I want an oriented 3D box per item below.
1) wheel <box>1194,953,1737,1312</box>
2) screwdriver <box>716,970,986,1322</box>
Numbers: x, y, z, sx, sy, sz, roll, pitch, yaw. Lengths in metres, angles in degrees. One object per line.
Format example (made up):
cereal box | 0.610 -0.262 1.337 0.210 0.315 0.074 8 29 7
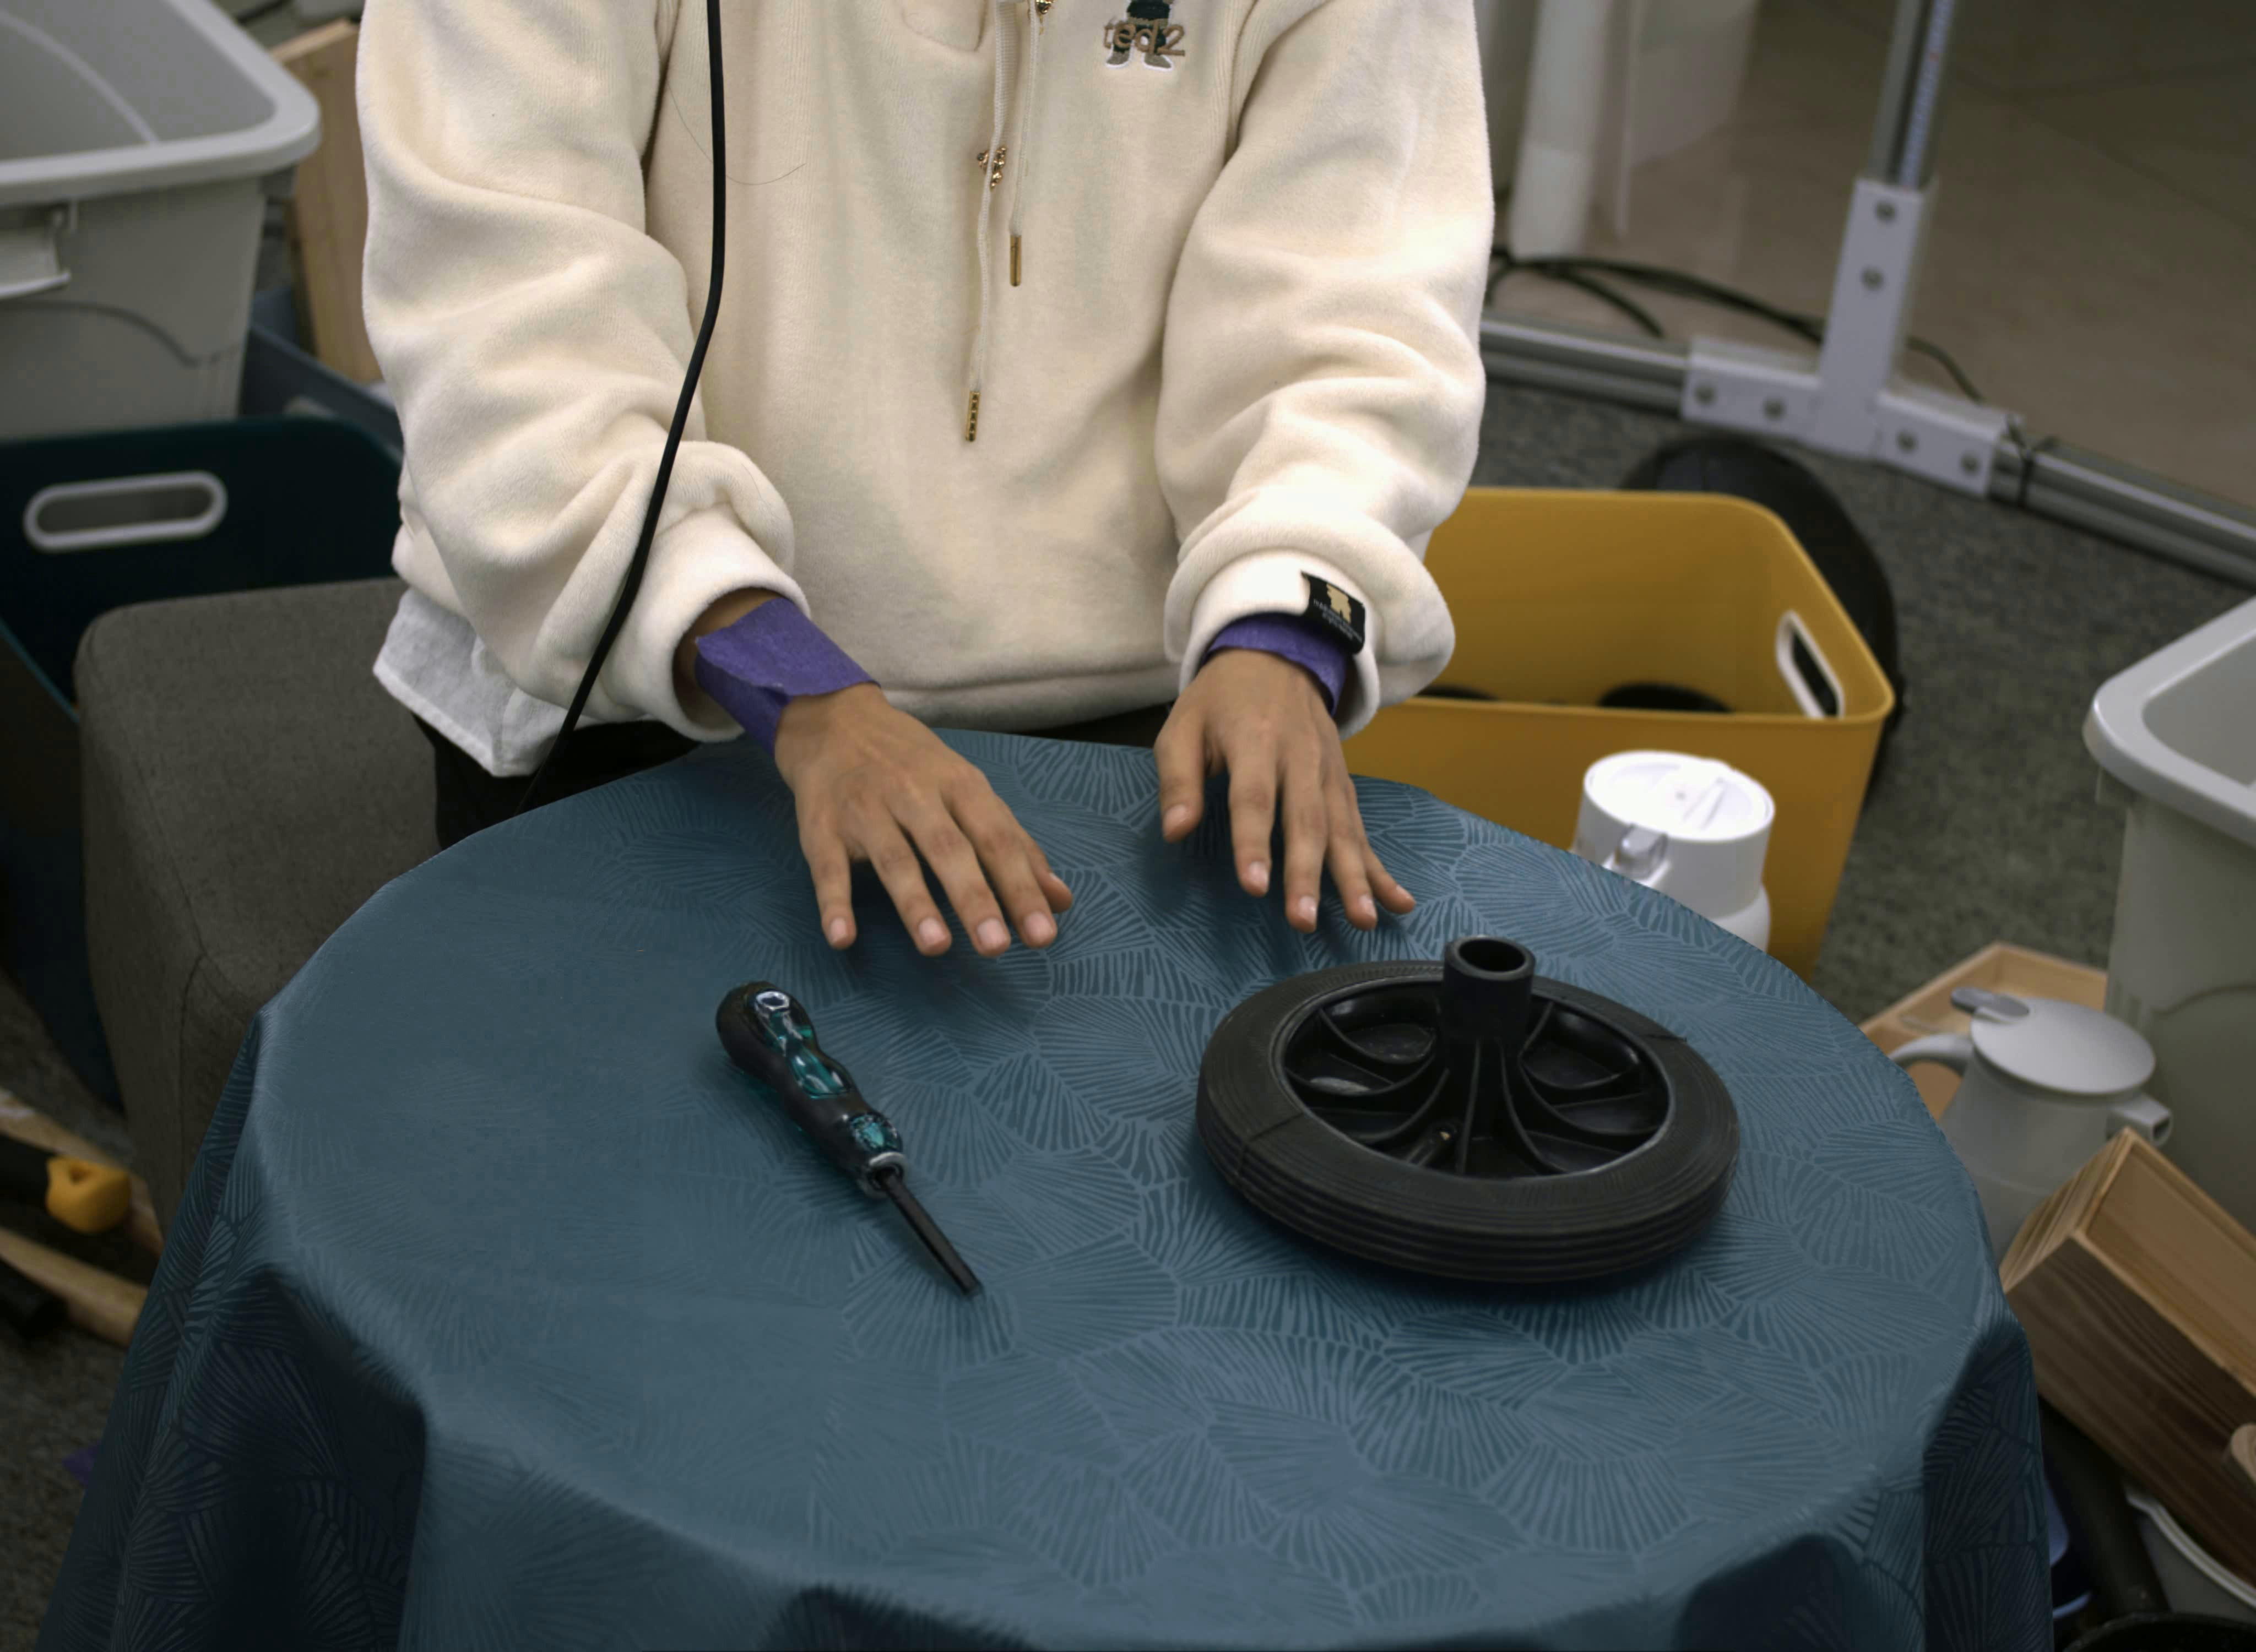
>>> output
wheel | 0.118 0.085 1.822 0.187 0.079 0.191 8 31 2
screwdriver | -0.091 0.109 1.787 0.033 0.033 0.192 -8 36 -28
